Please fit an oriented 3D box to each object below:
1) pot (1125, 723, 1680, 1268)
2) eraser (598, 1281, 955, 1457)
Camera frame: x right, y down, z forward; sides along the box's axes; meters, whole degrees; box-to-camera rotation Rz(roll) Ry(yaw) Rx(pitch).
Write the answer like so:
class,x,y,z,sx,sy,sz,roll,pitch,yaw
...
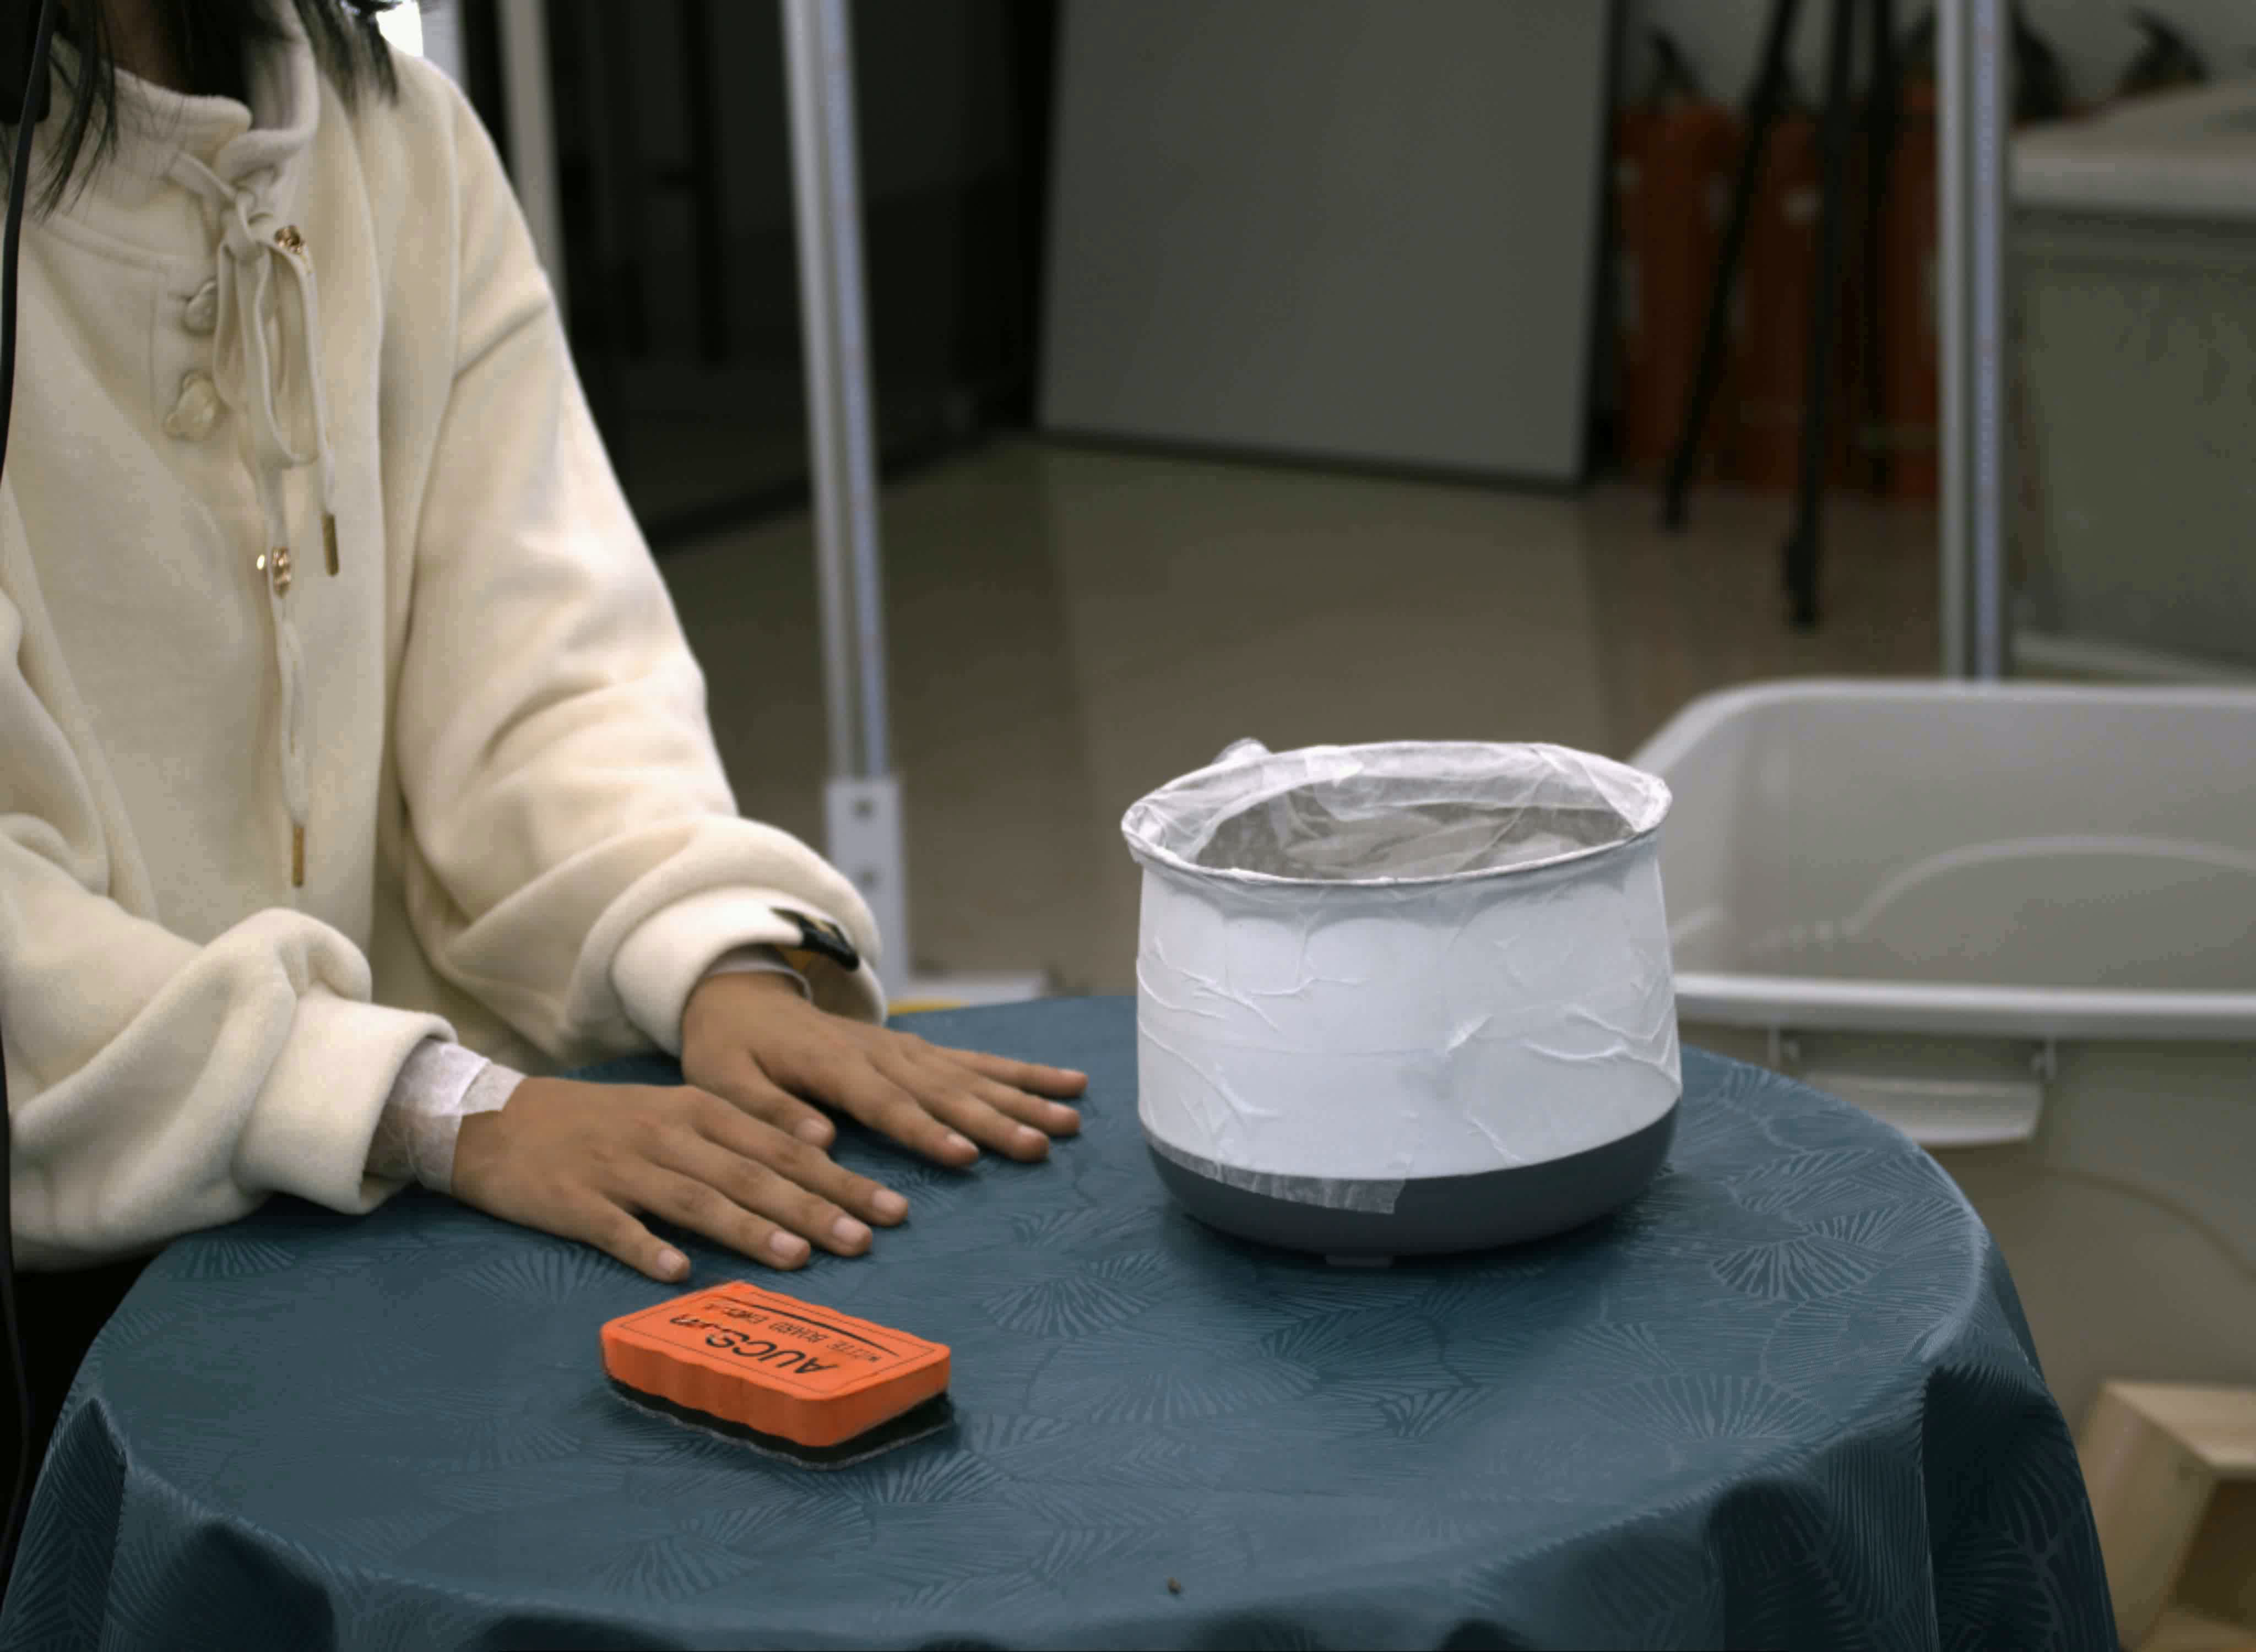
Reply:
class,x,y,z,sx,sy,sz,roll,pitch,yaw
pot,0.075,0.048,1.749,0.175,0.138,0.236,-11,16,-26
eraser,-0.103,0.159,1.586,0.058,0.023,0.109,-16,16,-40
